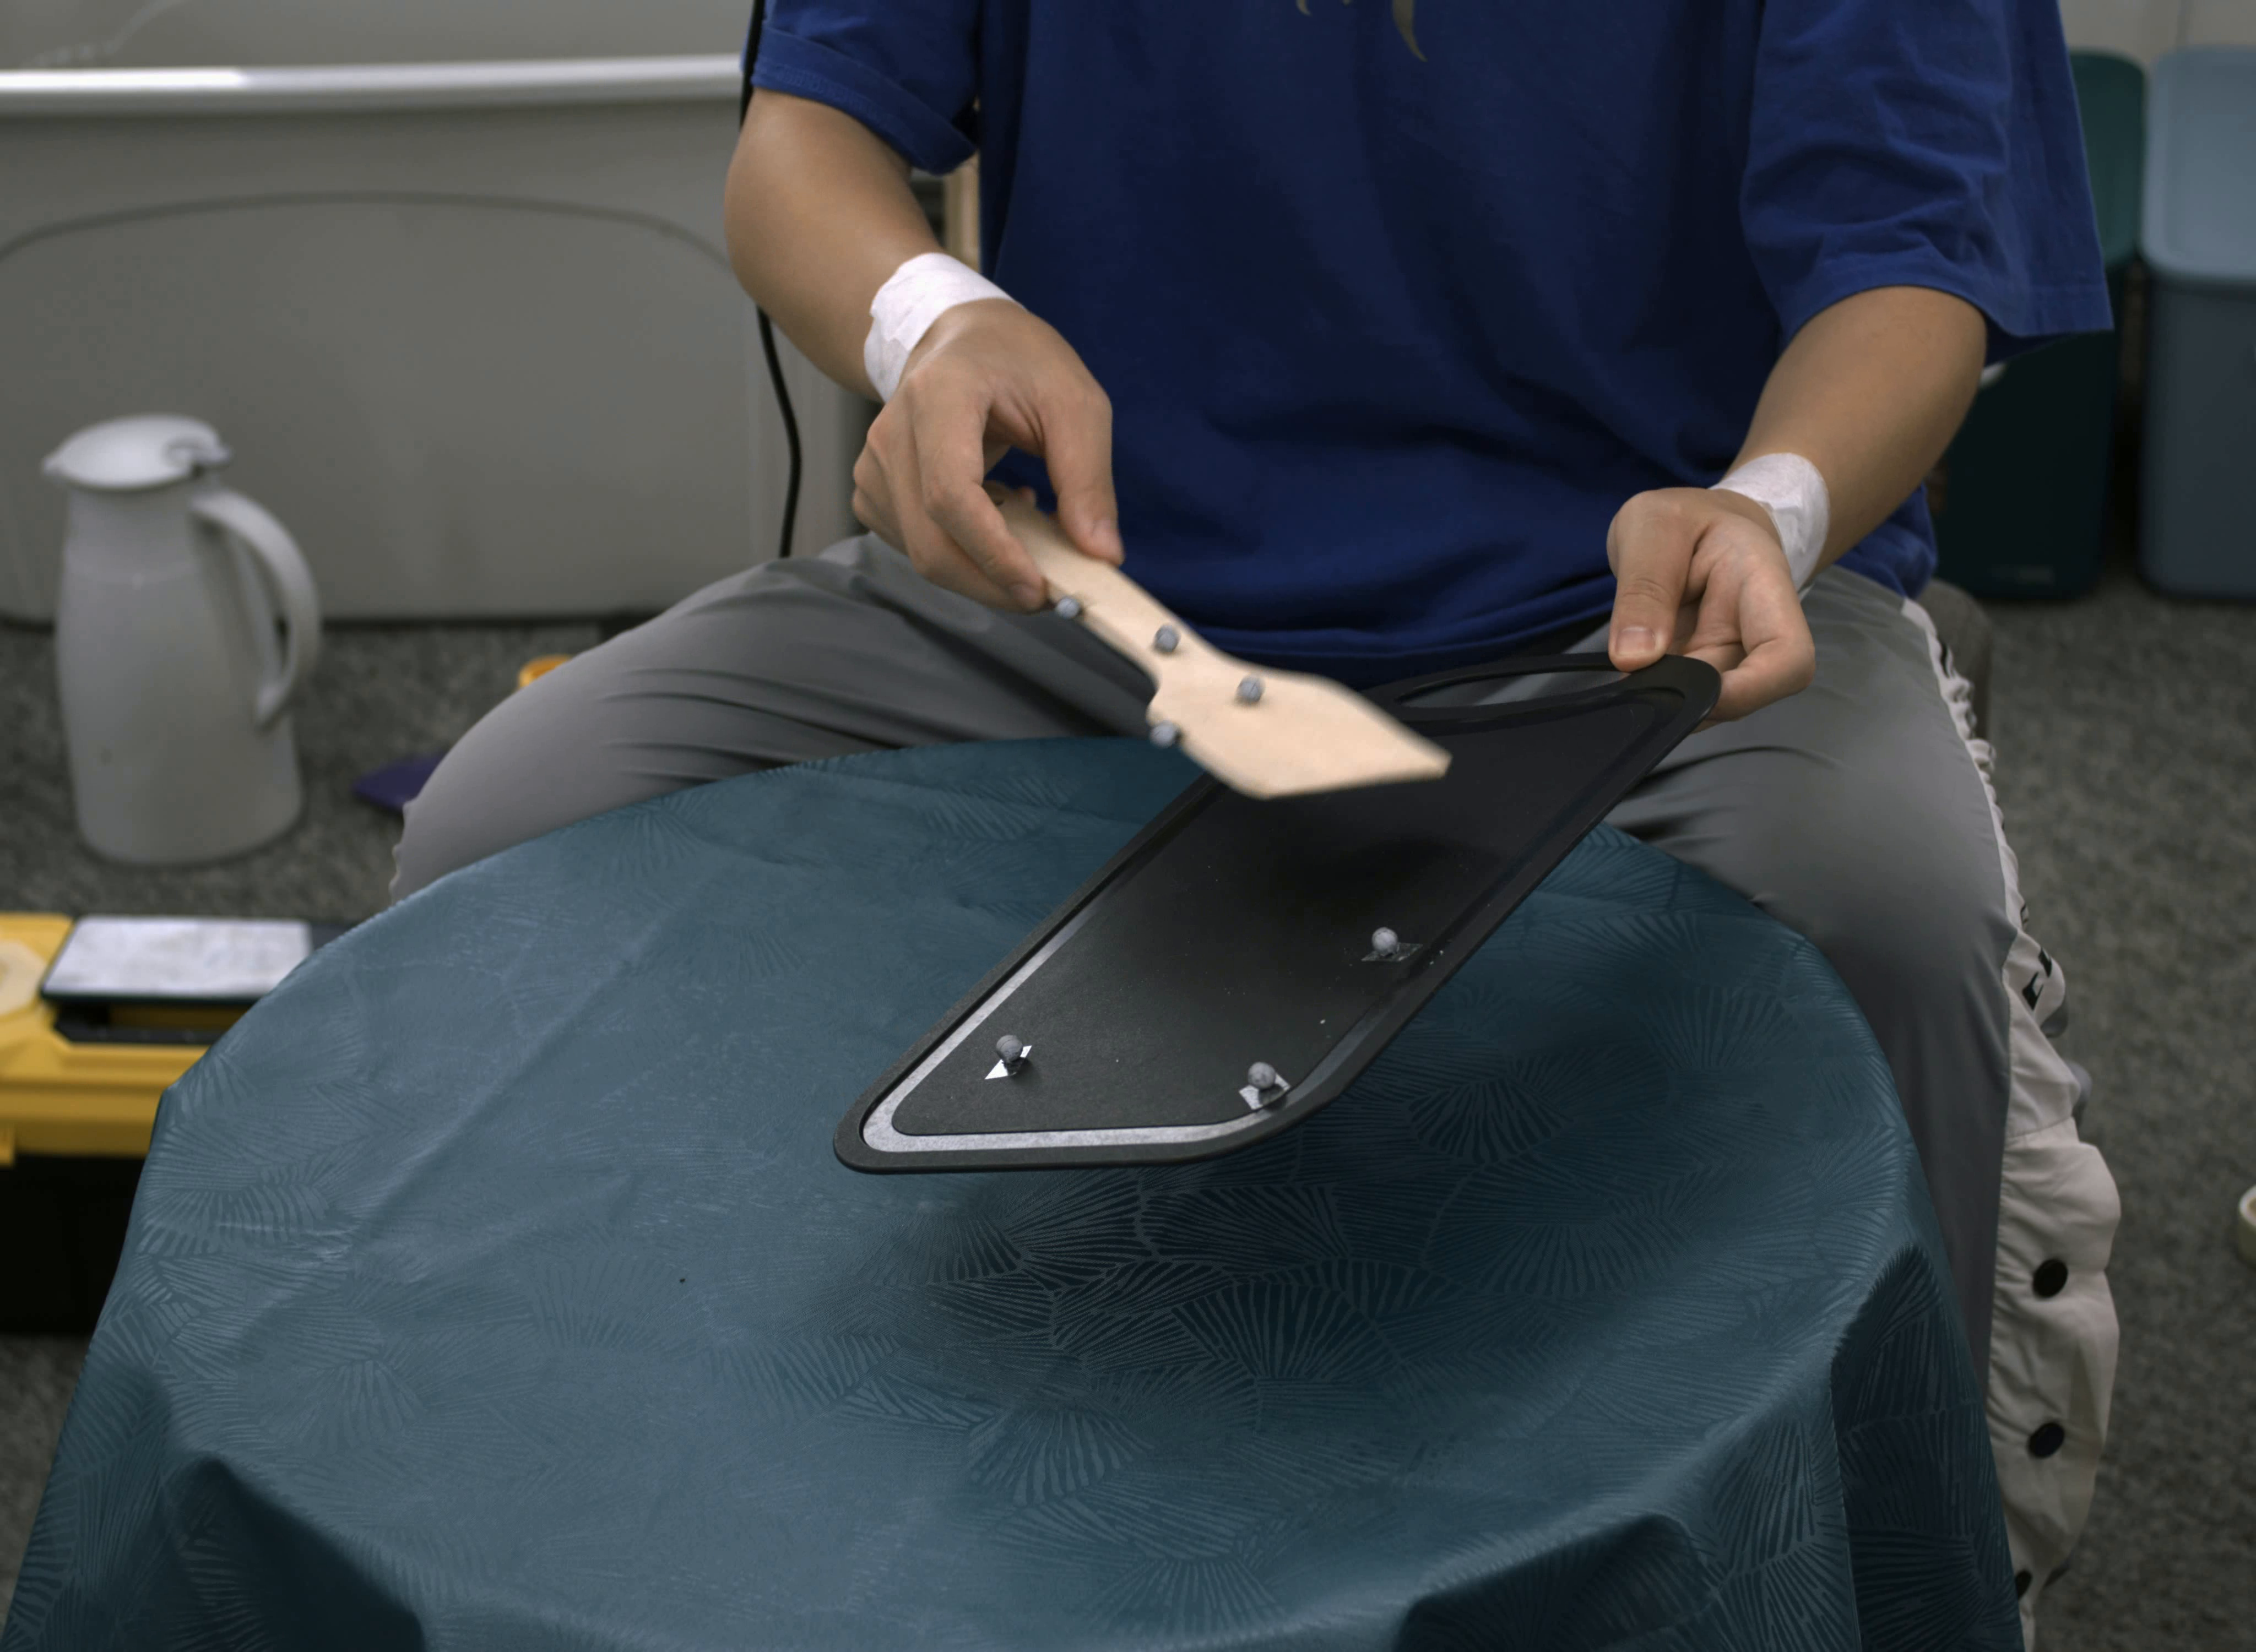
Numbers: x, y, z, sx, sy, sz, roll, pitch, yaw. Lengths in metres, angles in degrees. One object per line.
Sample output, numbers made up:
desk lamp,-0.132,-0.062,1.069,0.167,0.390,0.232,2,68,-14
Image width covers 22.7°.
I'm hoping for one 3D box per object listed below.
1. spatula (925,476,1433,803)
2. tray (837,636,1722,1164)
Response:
spatula,0.002,-0.066,1.914,0.072,0.010,0.294,-5,26,-28
tray,0.055,0.018,1.830,0.209,0.010,0.331,-5,27,42
